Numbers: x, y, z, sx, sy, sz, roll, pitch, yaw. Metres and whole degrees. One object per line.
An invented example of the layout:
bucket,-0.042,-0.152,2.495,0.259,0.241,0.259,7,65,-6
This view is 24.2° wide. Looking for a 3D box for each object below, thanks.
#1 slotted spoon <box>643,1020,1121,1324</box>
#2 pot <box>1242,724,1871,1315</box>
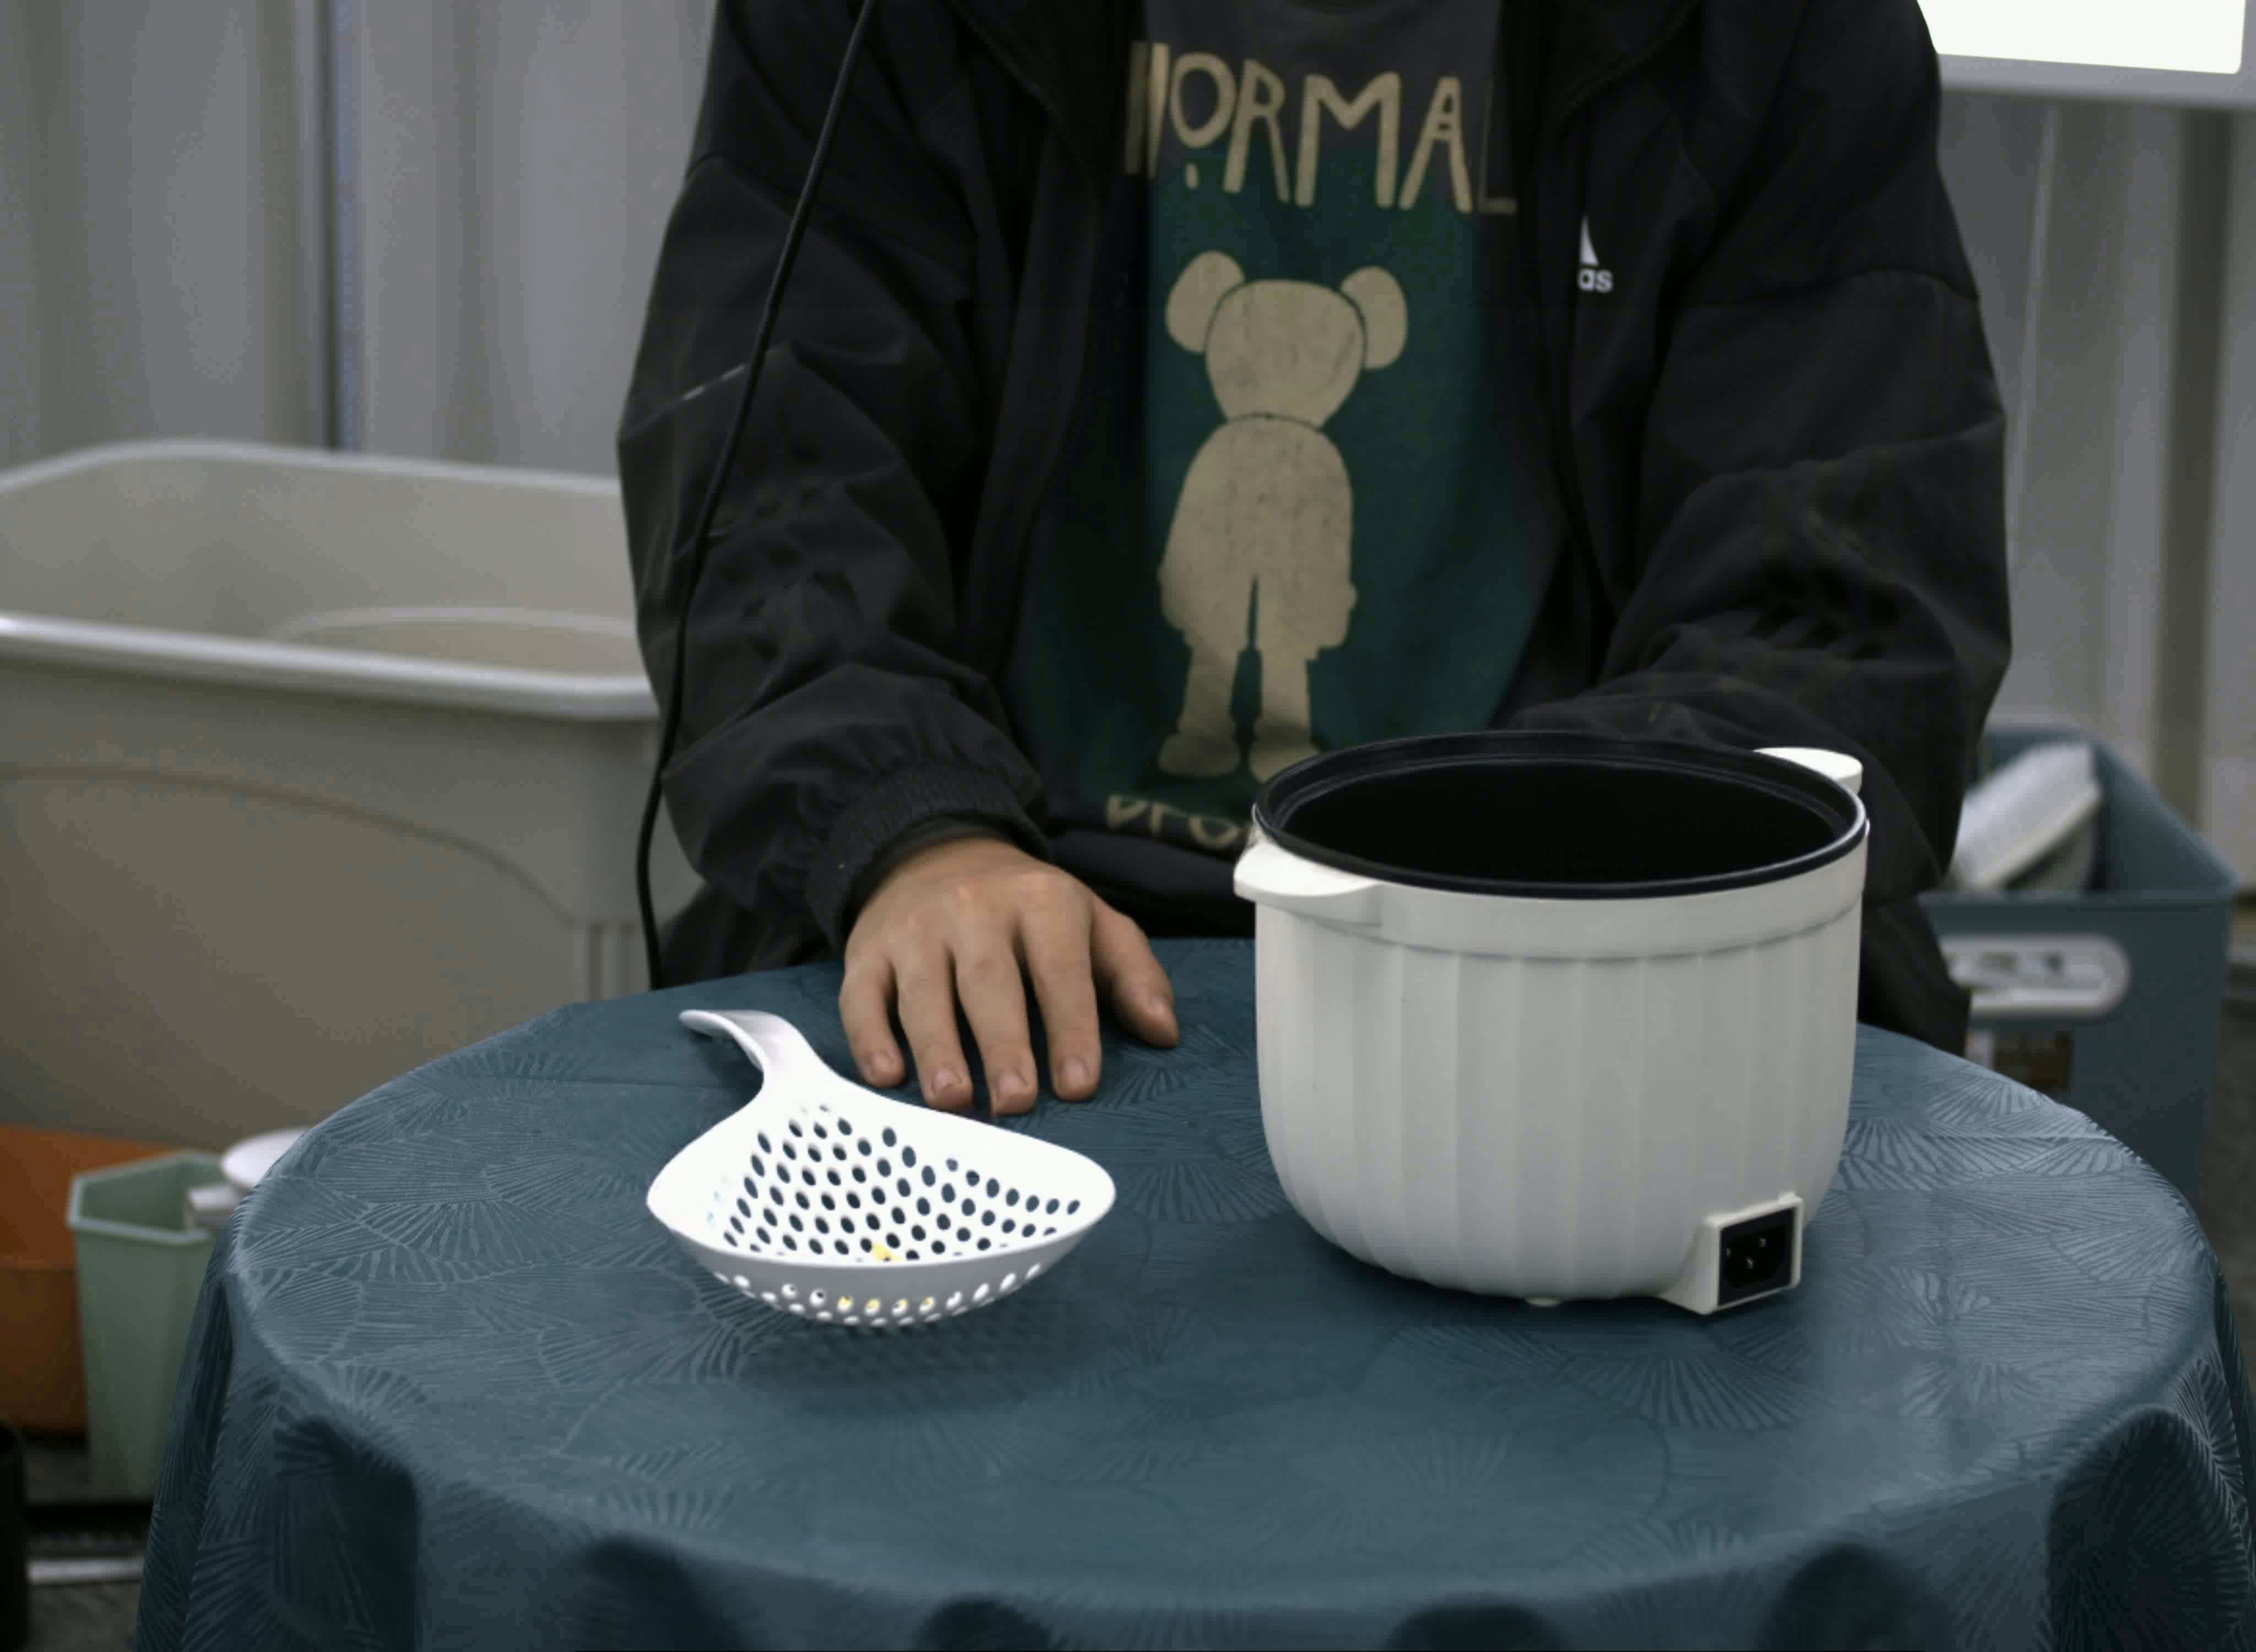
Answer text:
slotted spoon,-0.098,0.092,1.616,0.137,0.051,0.344,-5,17,-14
pot,0.123,0.056,1.573,0.242,0.144,0.188,-11,22,-39
